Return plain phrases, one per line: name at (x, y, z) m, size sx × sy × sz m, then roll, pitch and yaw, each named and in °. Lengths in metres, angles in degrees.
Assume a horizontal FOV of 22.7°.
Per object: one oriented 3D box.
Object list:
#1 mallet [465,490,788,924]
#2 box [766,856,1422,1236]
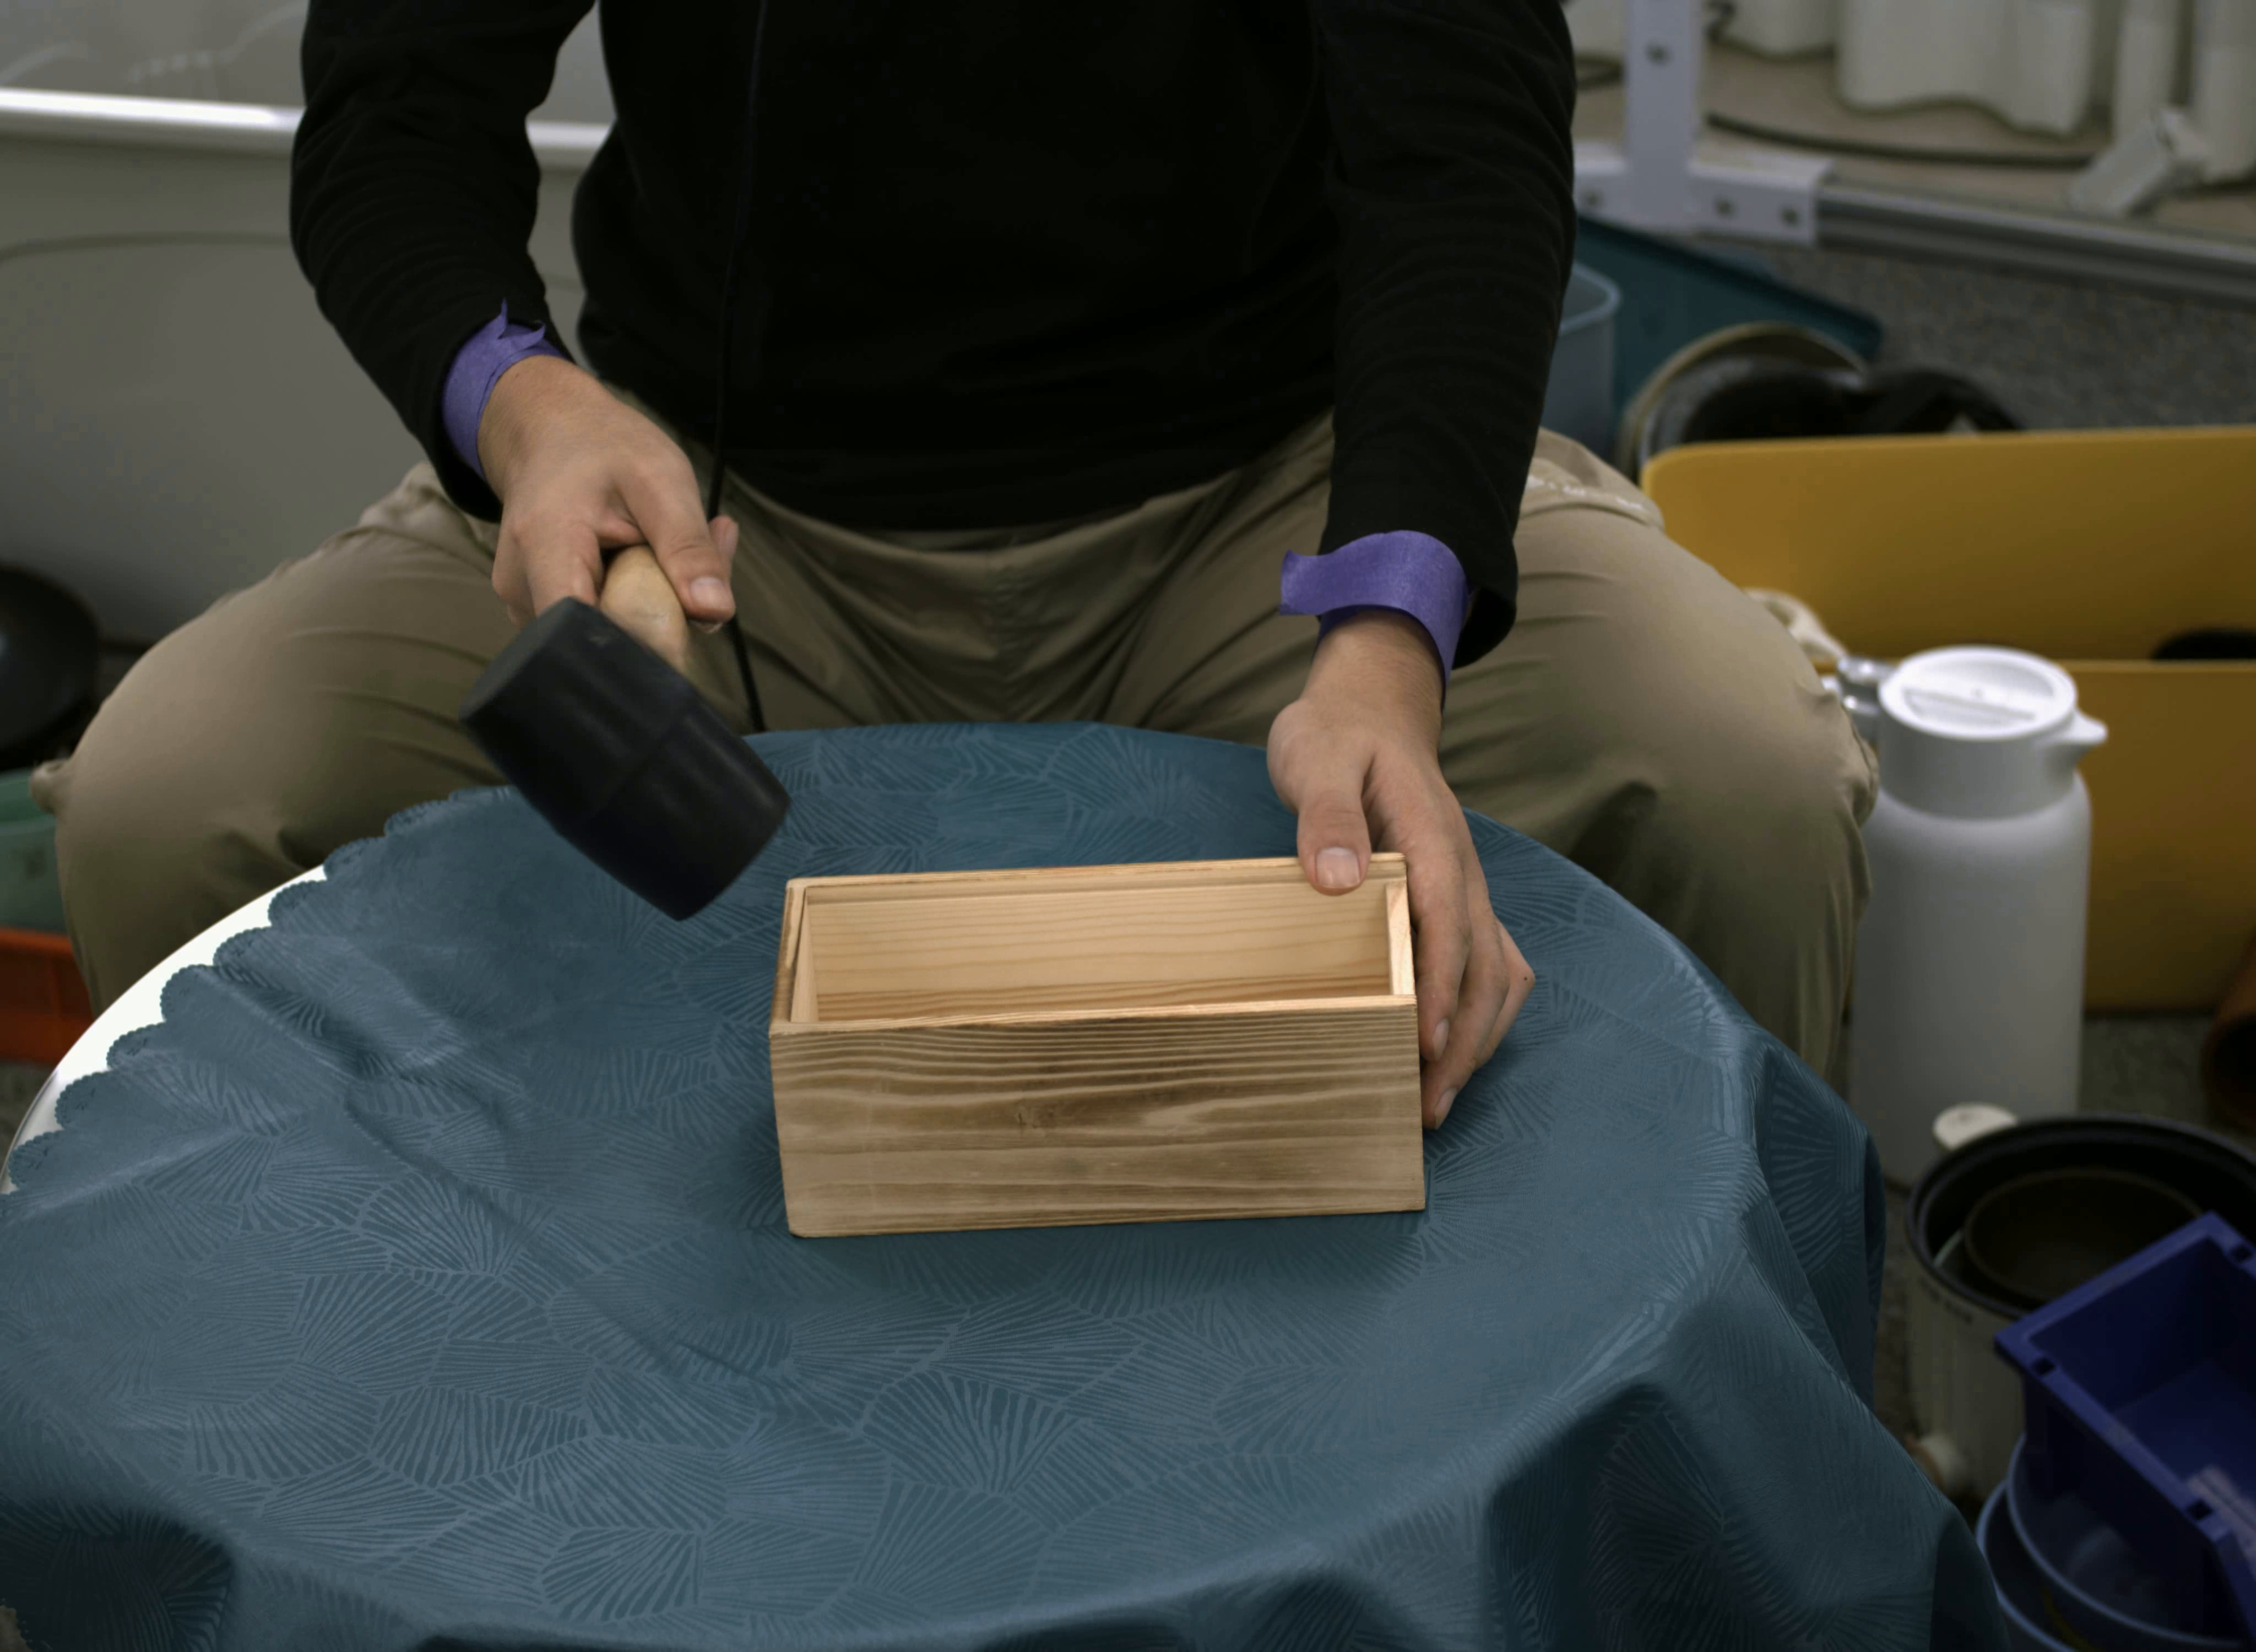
mallet at (-0.161, -0.067, 1.921) m, size 0.064 × 0.101 × 0.342 m, roll -36°, pitch 15°, yaw 11°
box at (-0.010, 0.072, 1.869) m, size 0.210 × 0.079 × 0.109 m, roll -2°, pitch 26°, yaw 1°
